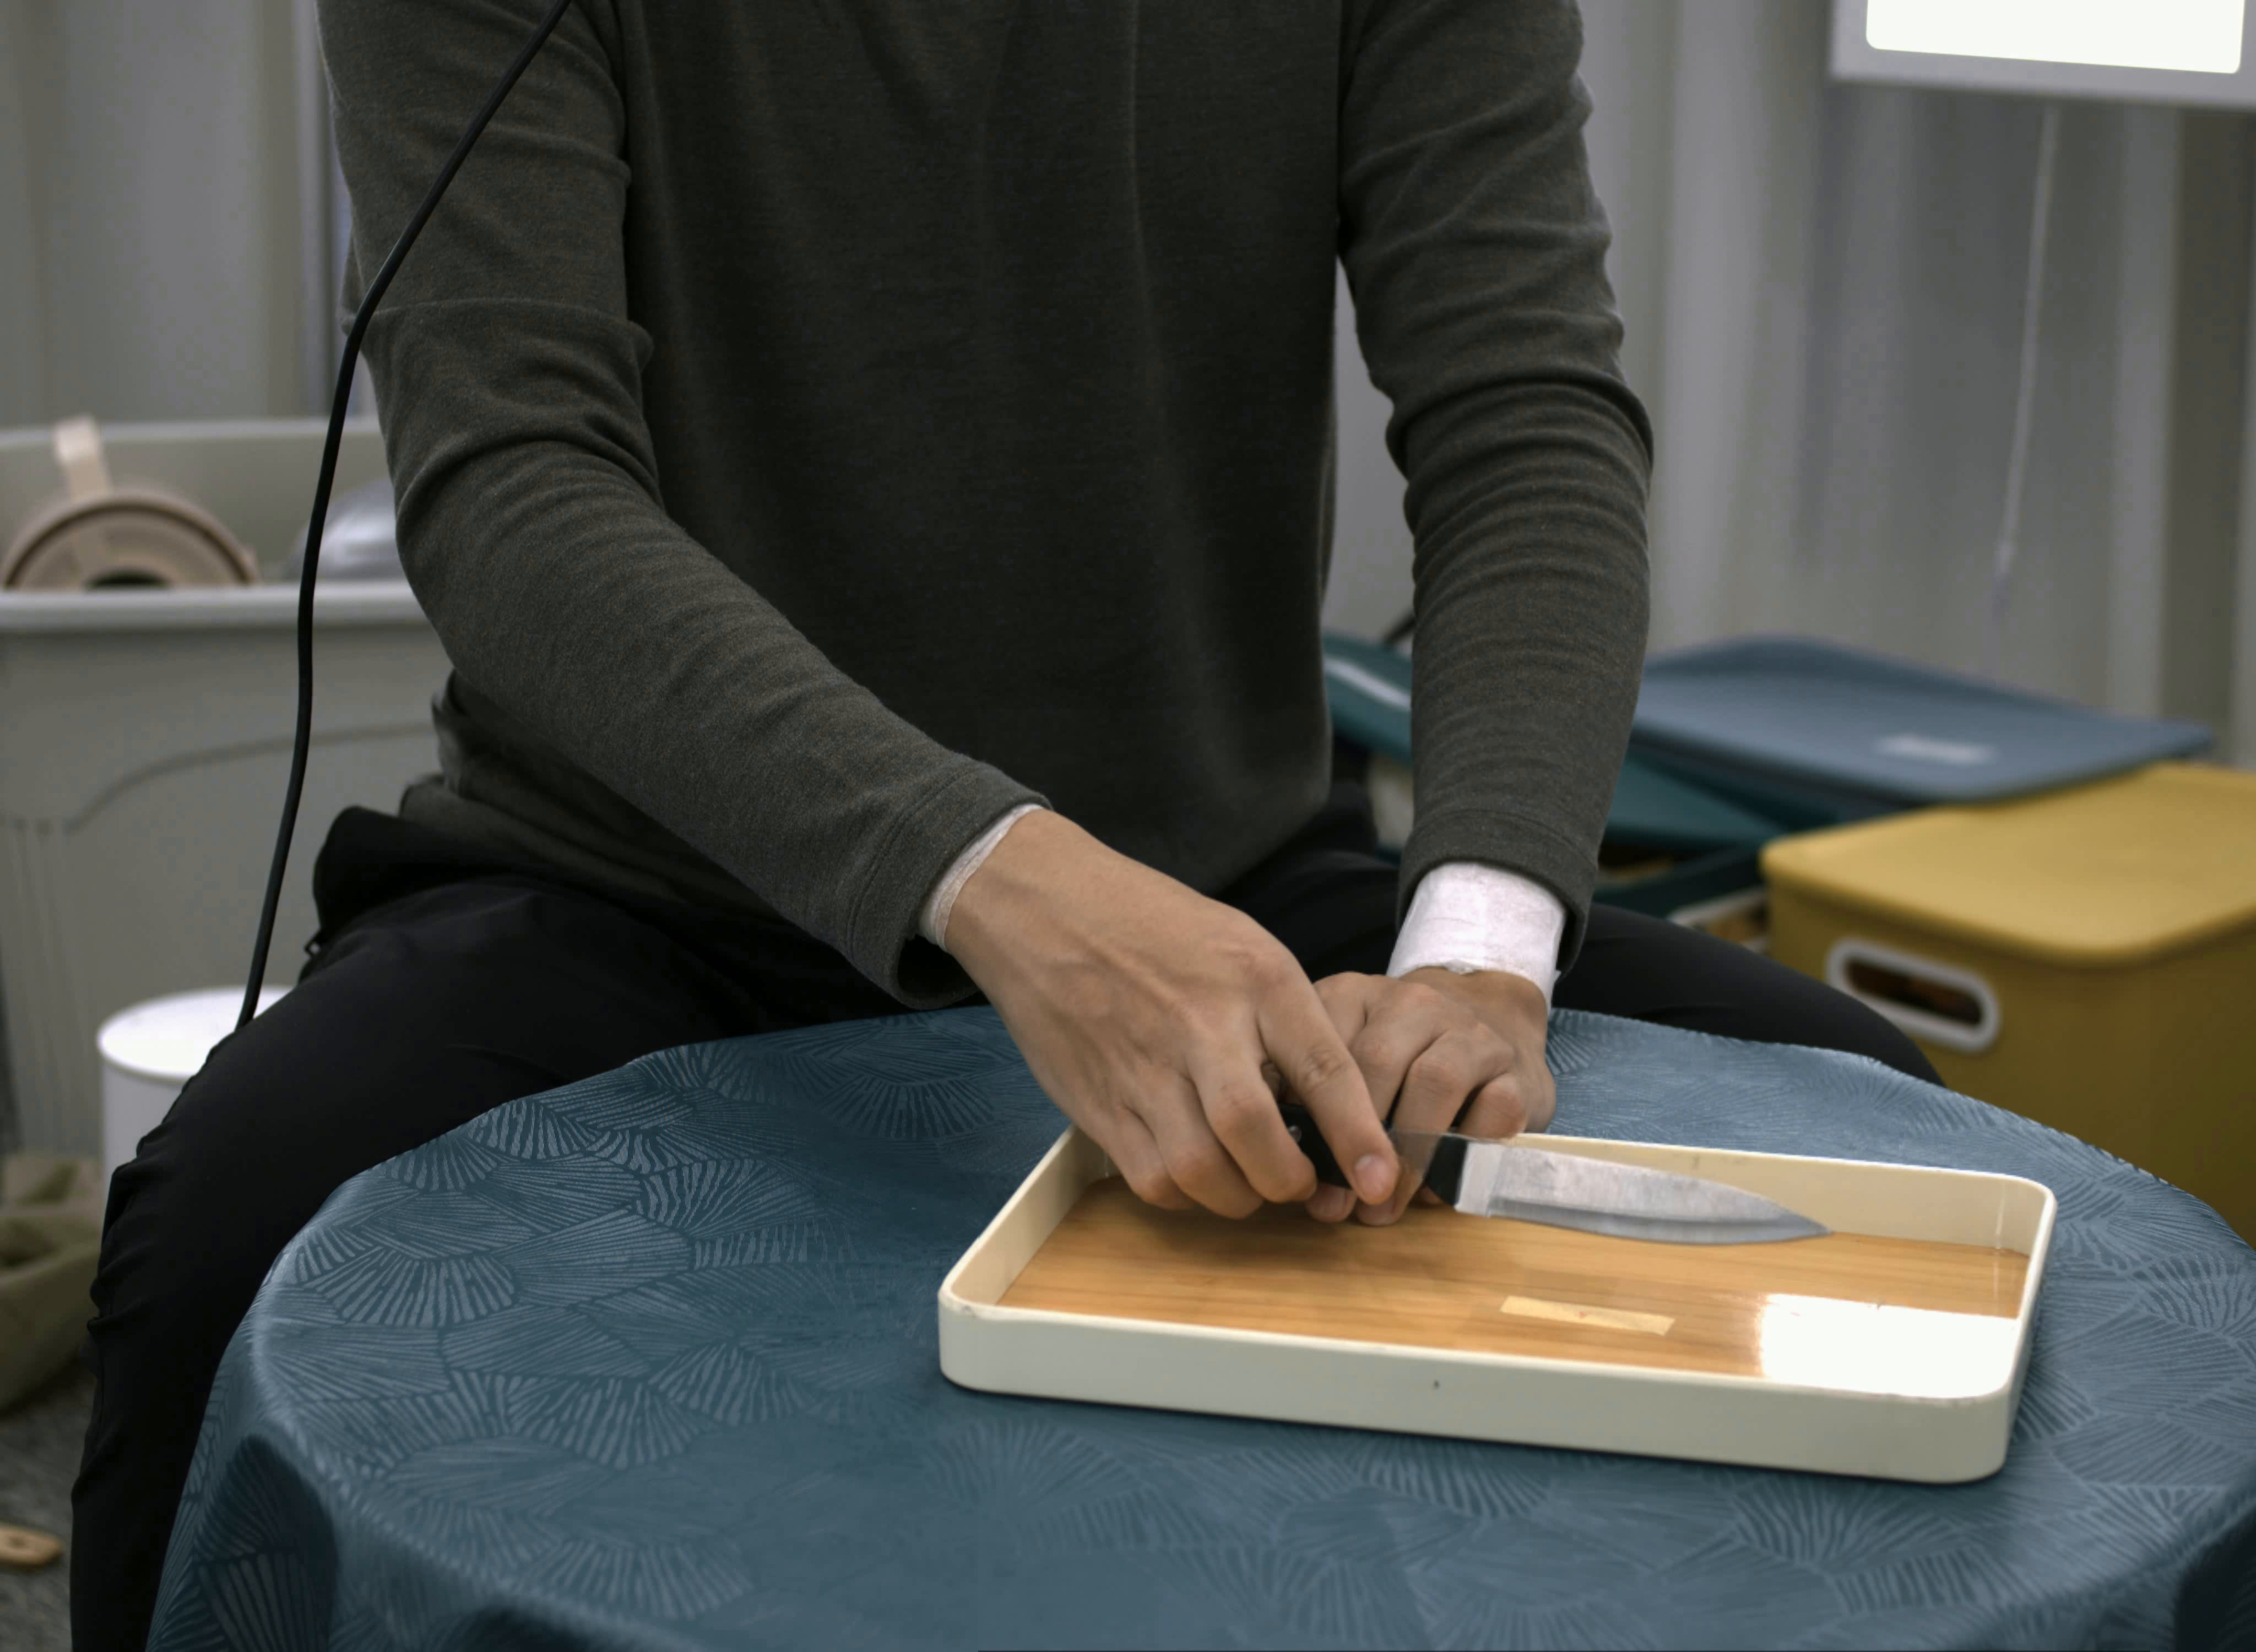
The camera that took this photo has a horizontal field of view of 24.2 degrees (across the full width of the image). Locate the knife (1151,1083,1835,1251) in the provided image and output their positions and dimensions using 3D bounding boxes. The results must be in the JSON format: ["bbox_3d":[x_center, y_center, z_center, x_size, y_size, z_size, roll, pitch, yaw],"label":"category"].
[{"bbox_3d":[0.103,0.098,1.523,0.235,0.024,0.016,8,-5,37],"label":"knife"}]

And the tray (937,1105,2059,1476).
[{"bbox_3d":[0.110,0.130,1.514,0.298,0.027,0.191,4,15,13],"label":"tray"}]
